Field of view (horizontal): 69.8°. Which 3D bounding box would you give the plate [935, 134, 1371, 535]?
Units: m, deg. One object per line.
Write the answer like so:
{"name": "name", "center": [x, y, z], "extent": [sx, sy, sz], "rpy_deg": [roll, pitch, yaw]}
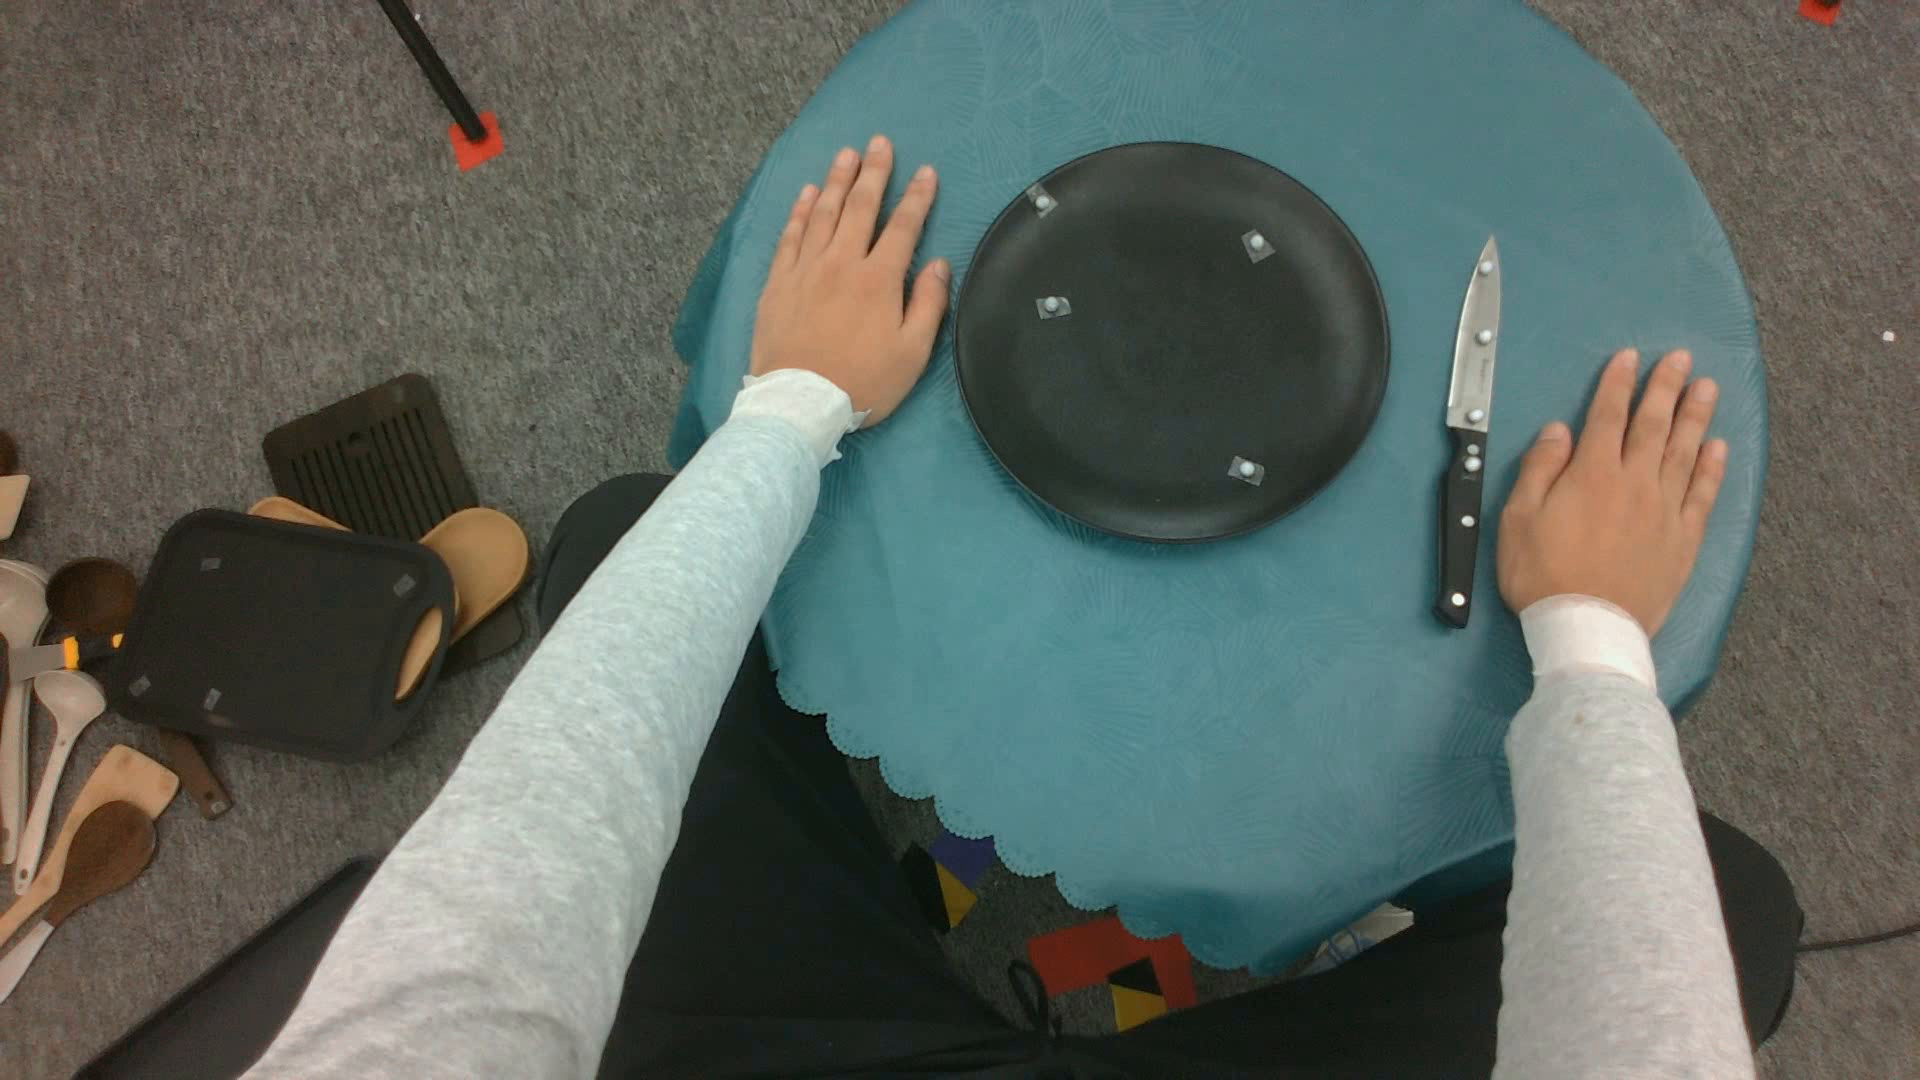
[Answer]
{"name": "plate", "center": [0.108, -0.118, 0.777], "extent": [0.244, 0.023, 0.245], "rpy_deg": [0, 73, 0]}

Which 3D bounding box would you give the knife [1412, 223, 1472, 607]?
{"name": "knife", "center": [0.273, -0.075, 0.769], "extent": [0.024, 0.016, 0.239], "rpy_deg": [10, 71, 5]}
